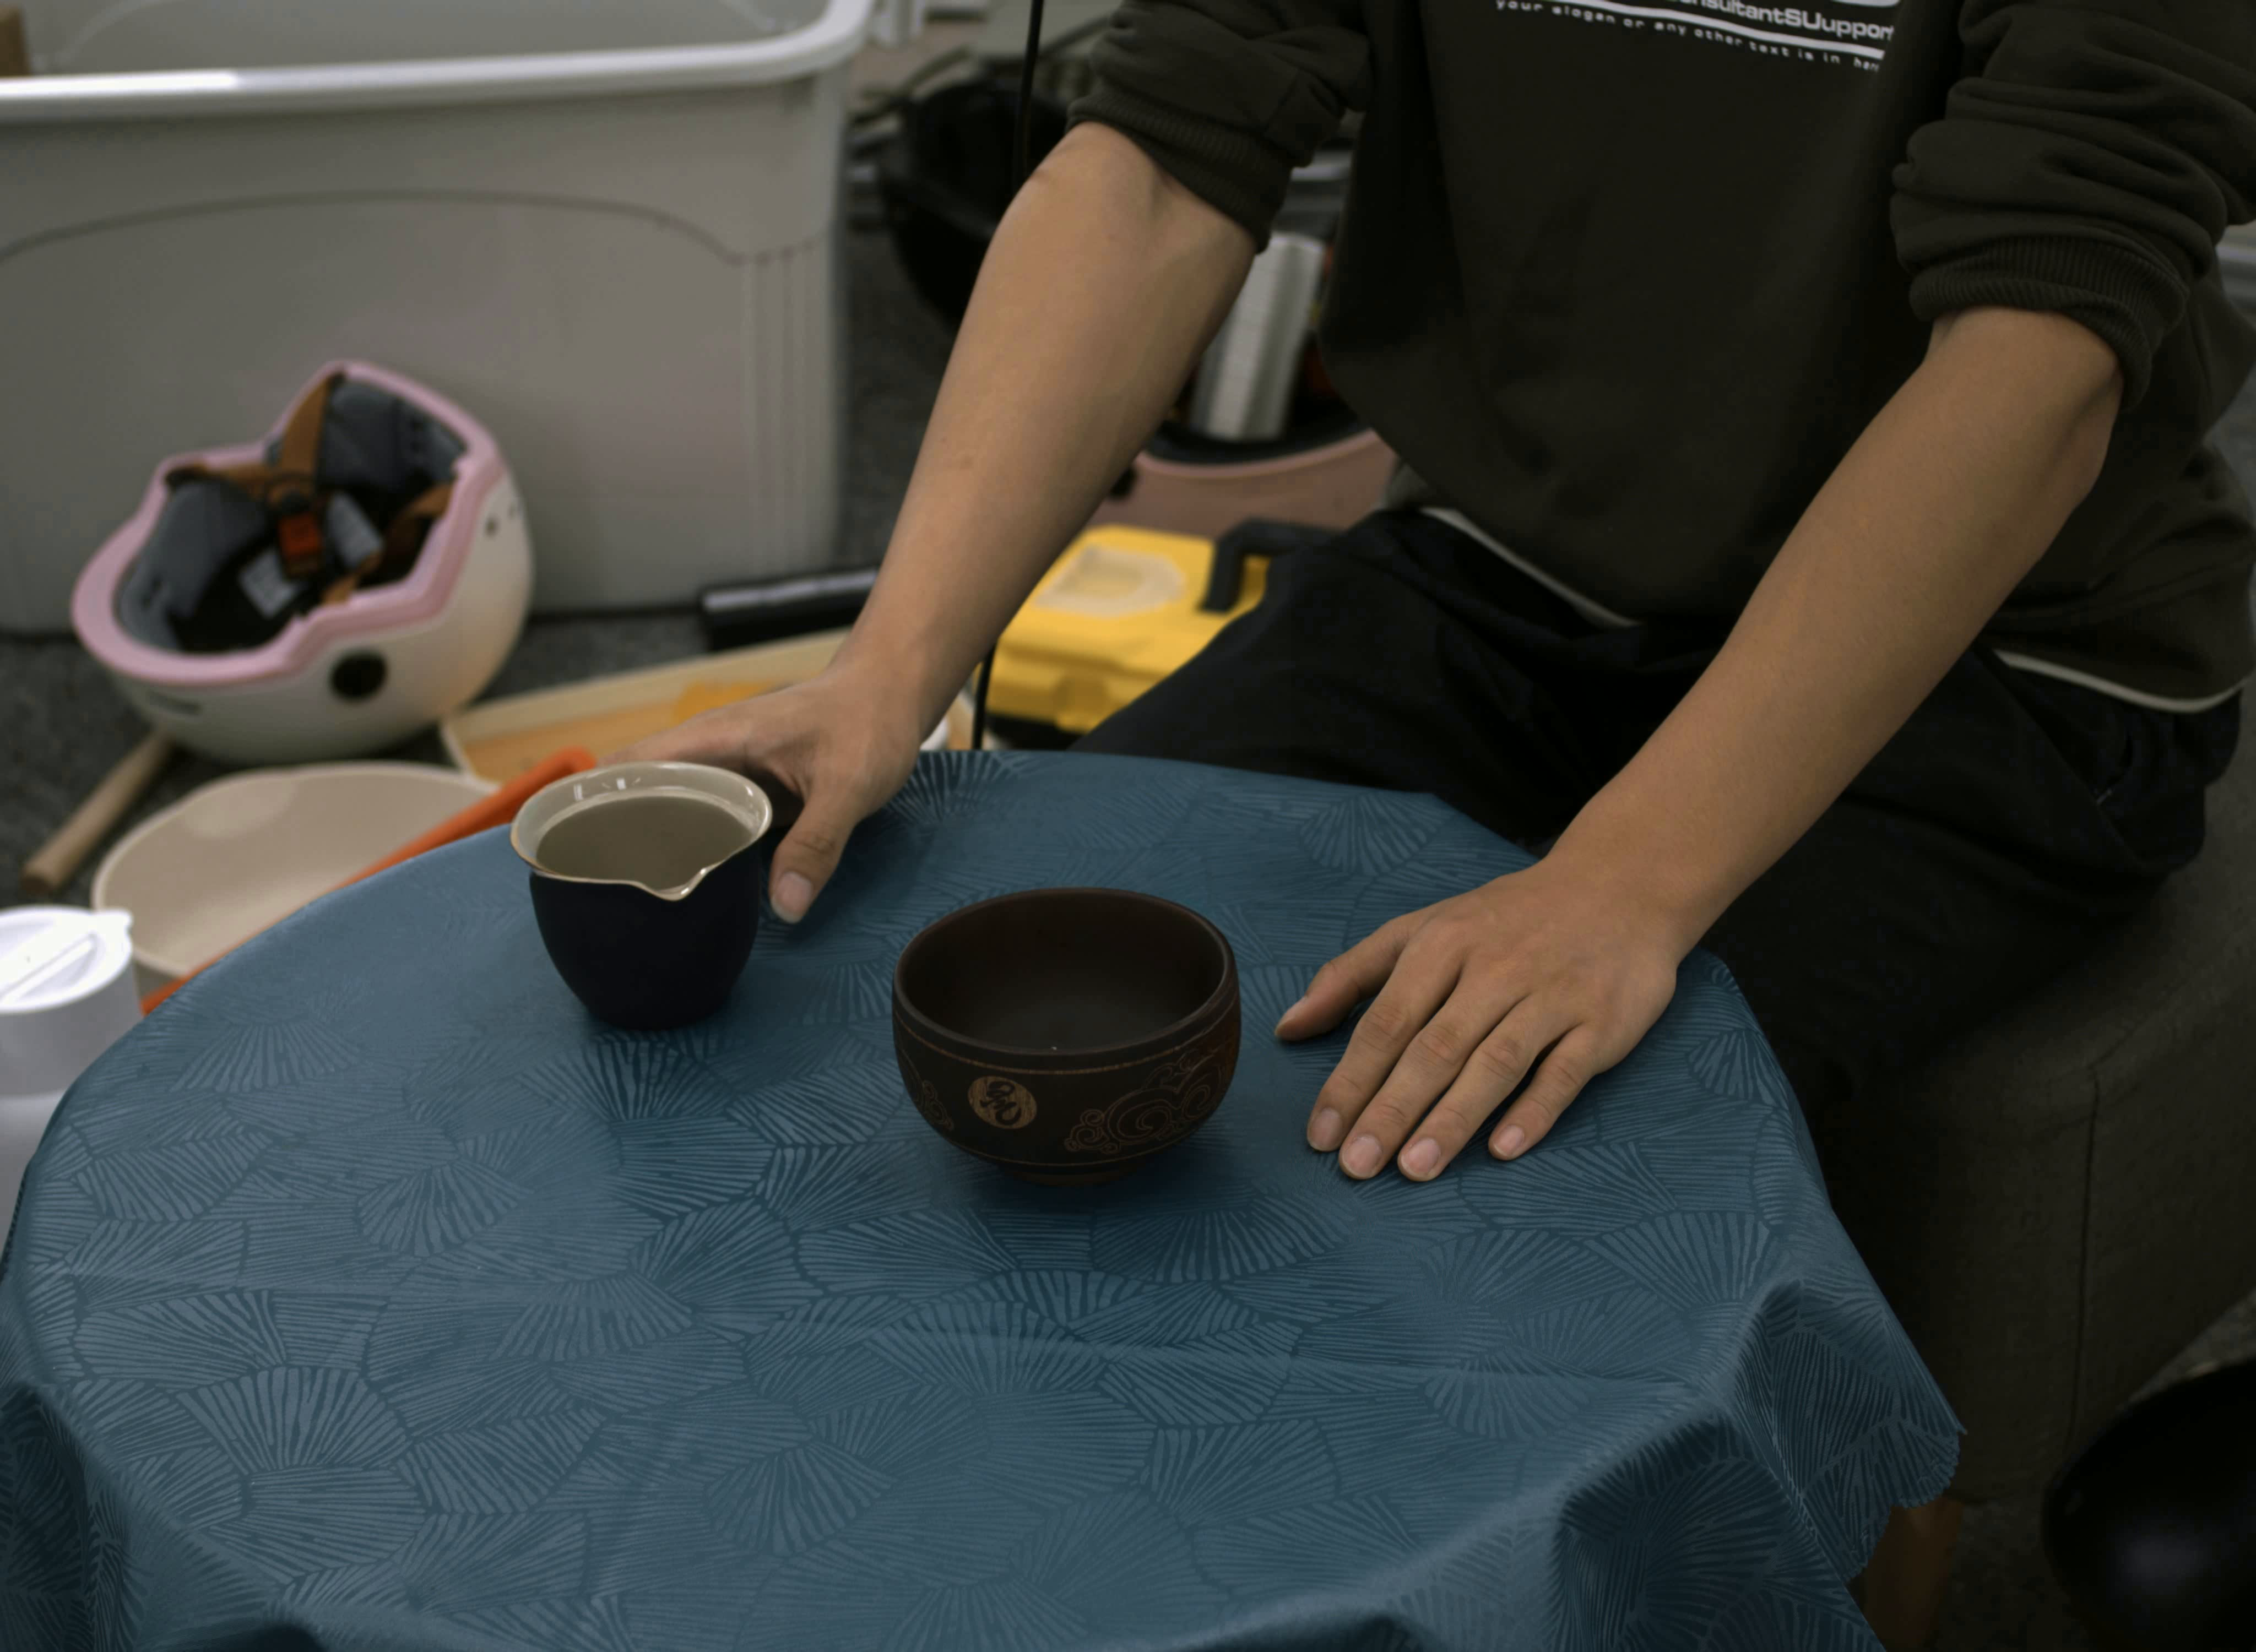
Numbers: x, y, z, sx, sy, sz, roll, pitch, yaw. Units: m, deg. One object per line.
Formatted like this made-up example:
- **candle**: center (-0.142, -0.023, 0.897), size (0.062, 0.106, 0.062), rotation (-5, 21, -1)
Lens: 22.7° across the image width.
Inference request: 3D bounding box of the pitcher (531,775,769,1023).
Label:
- **pitcher**: center (-0.166, 0.029, 1.977), size (0.083, 0.070, 0.097), rotation (-6, 26, -10)

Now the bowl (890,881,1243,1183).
- **bowl**: center (-0.019, 0.076, 1.878), size (0.117, 0.069, 0.120), rotation (-3, 28, 2)
